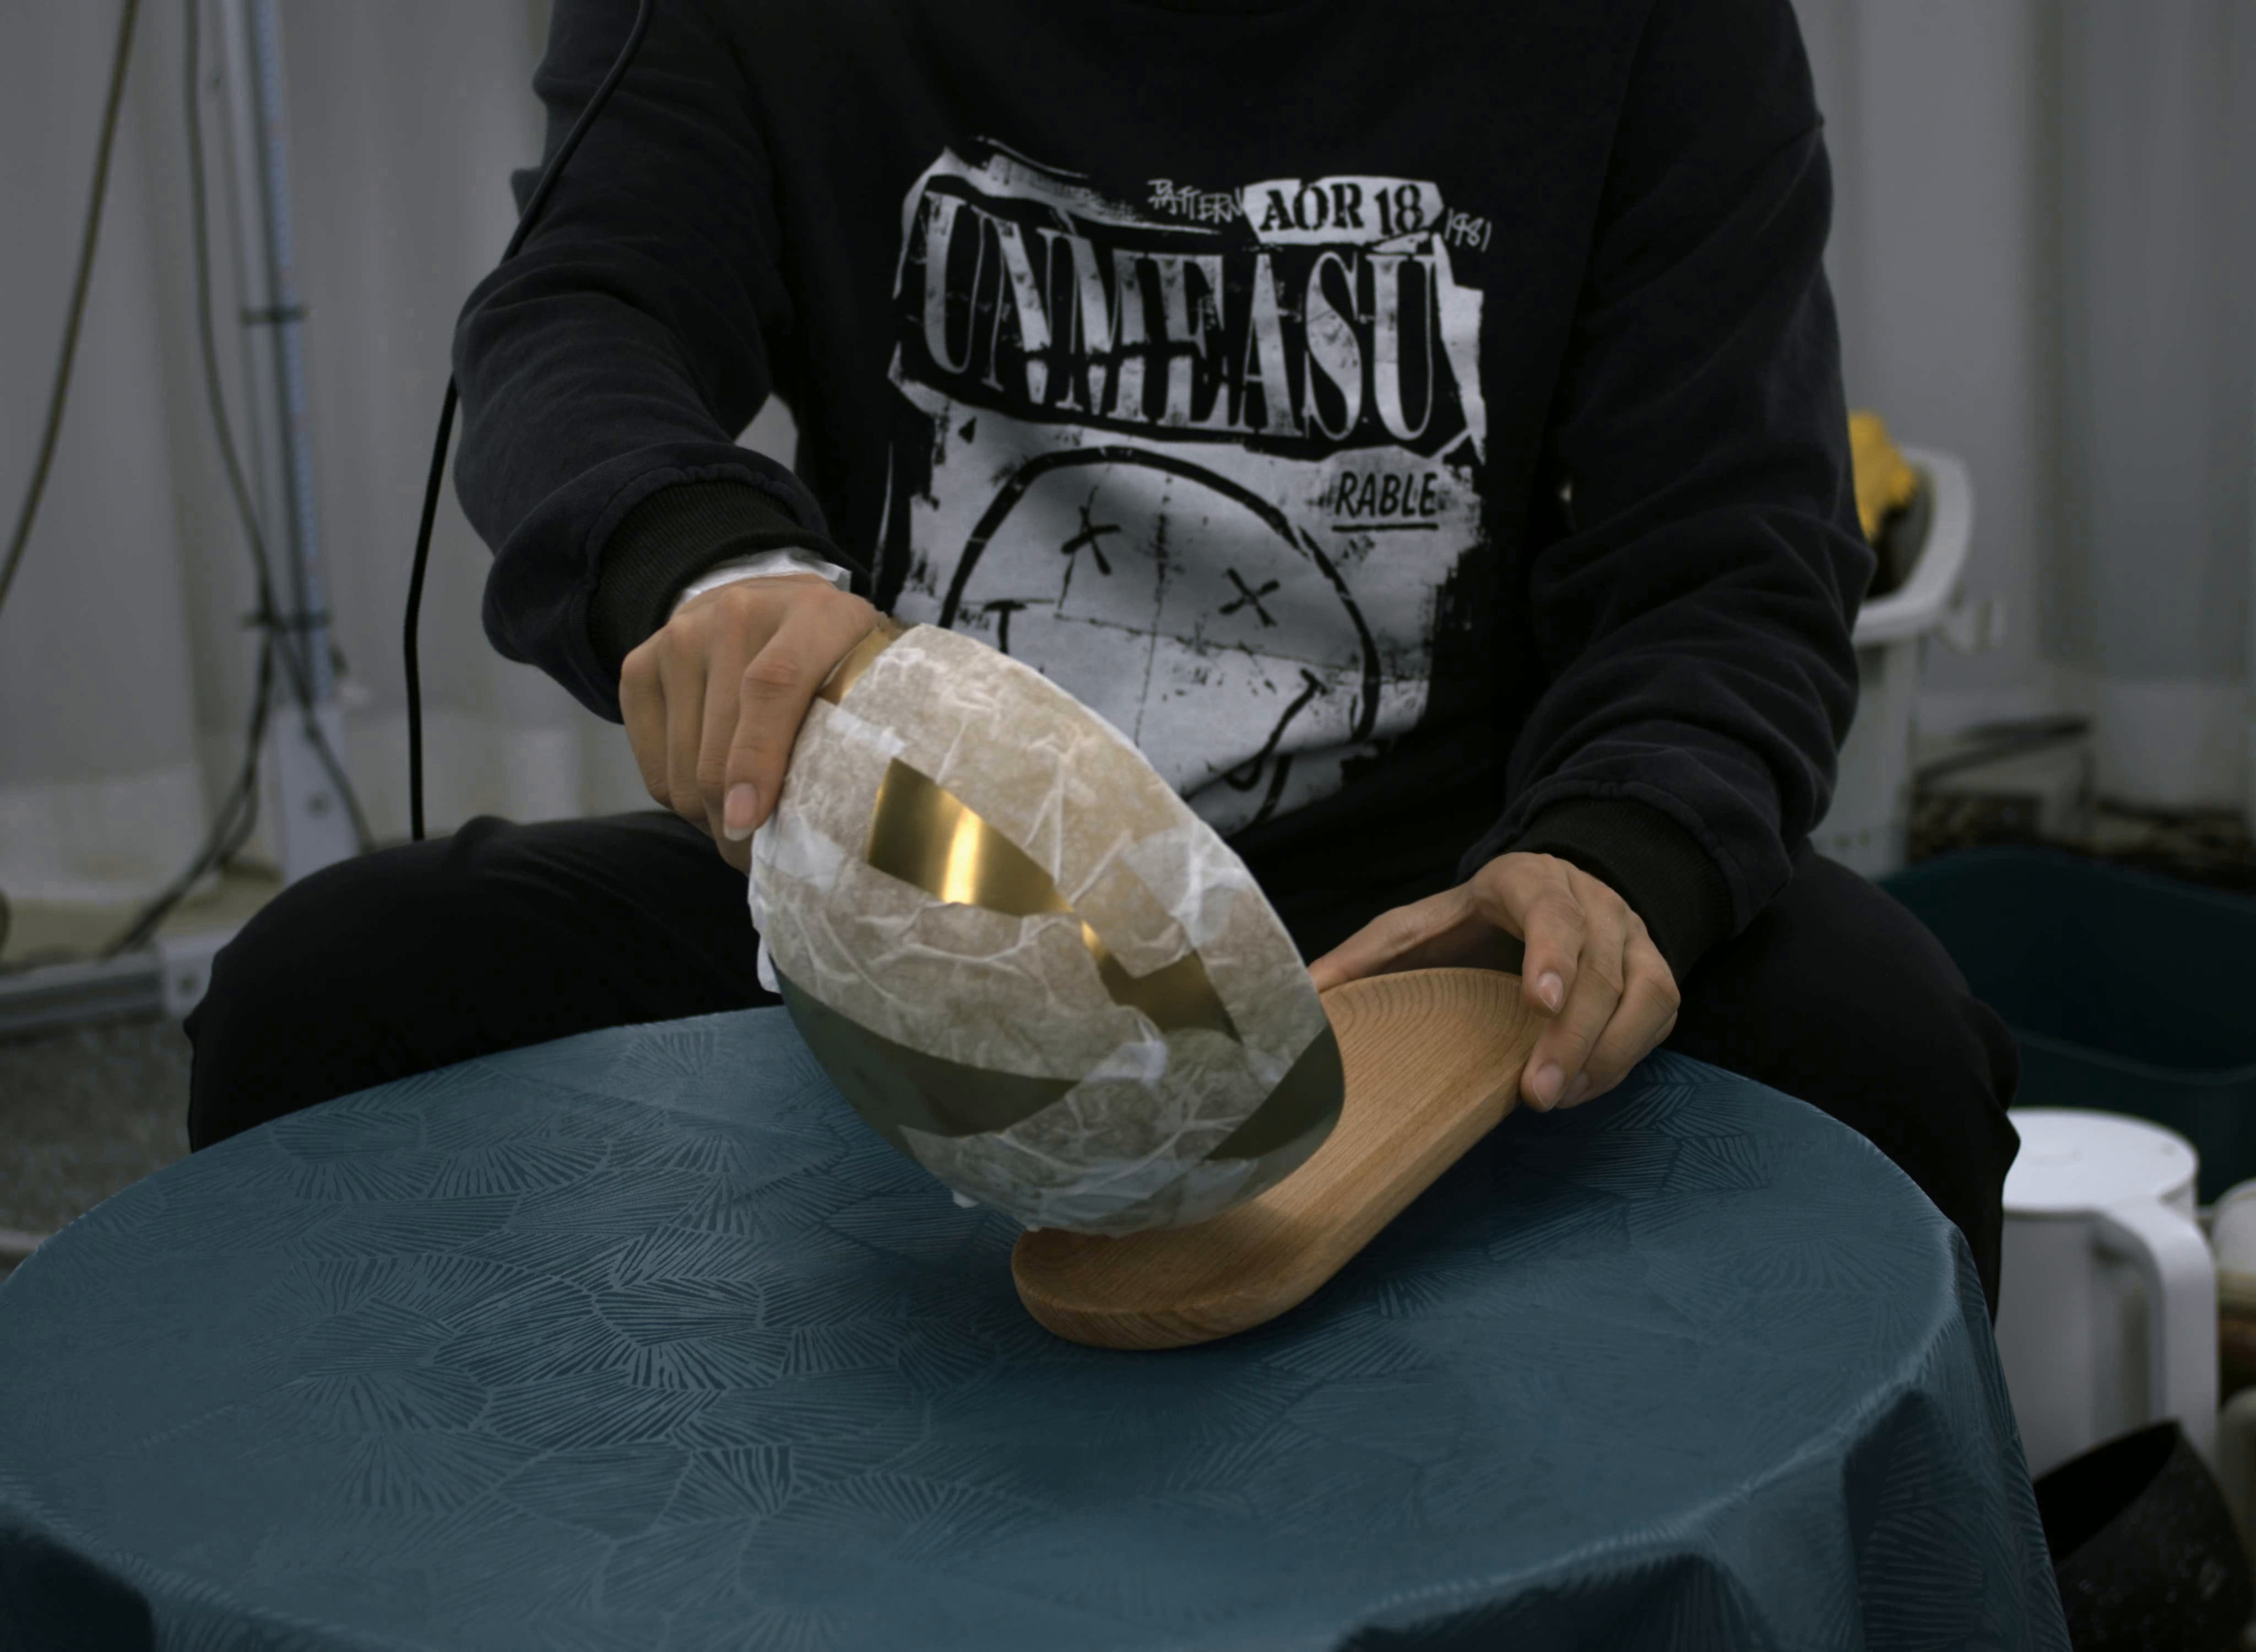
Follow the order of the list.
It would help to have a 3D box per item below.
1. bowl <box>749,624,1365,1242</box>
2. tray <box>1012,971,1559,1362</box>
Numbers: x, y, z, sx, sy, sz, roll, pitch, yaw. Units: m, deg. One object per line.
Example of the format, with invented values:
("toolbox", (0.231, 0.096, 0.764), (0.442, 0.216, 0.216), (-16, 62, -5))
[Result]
("bowl", (-0.040, 0.050, 1.579), (0.095, 0.212, 0.216), (-42, 32, -22))
("tray", (0.051, 0.101, 1.655), (0.102, 0.020, 0.232), (1, 26, 35))
